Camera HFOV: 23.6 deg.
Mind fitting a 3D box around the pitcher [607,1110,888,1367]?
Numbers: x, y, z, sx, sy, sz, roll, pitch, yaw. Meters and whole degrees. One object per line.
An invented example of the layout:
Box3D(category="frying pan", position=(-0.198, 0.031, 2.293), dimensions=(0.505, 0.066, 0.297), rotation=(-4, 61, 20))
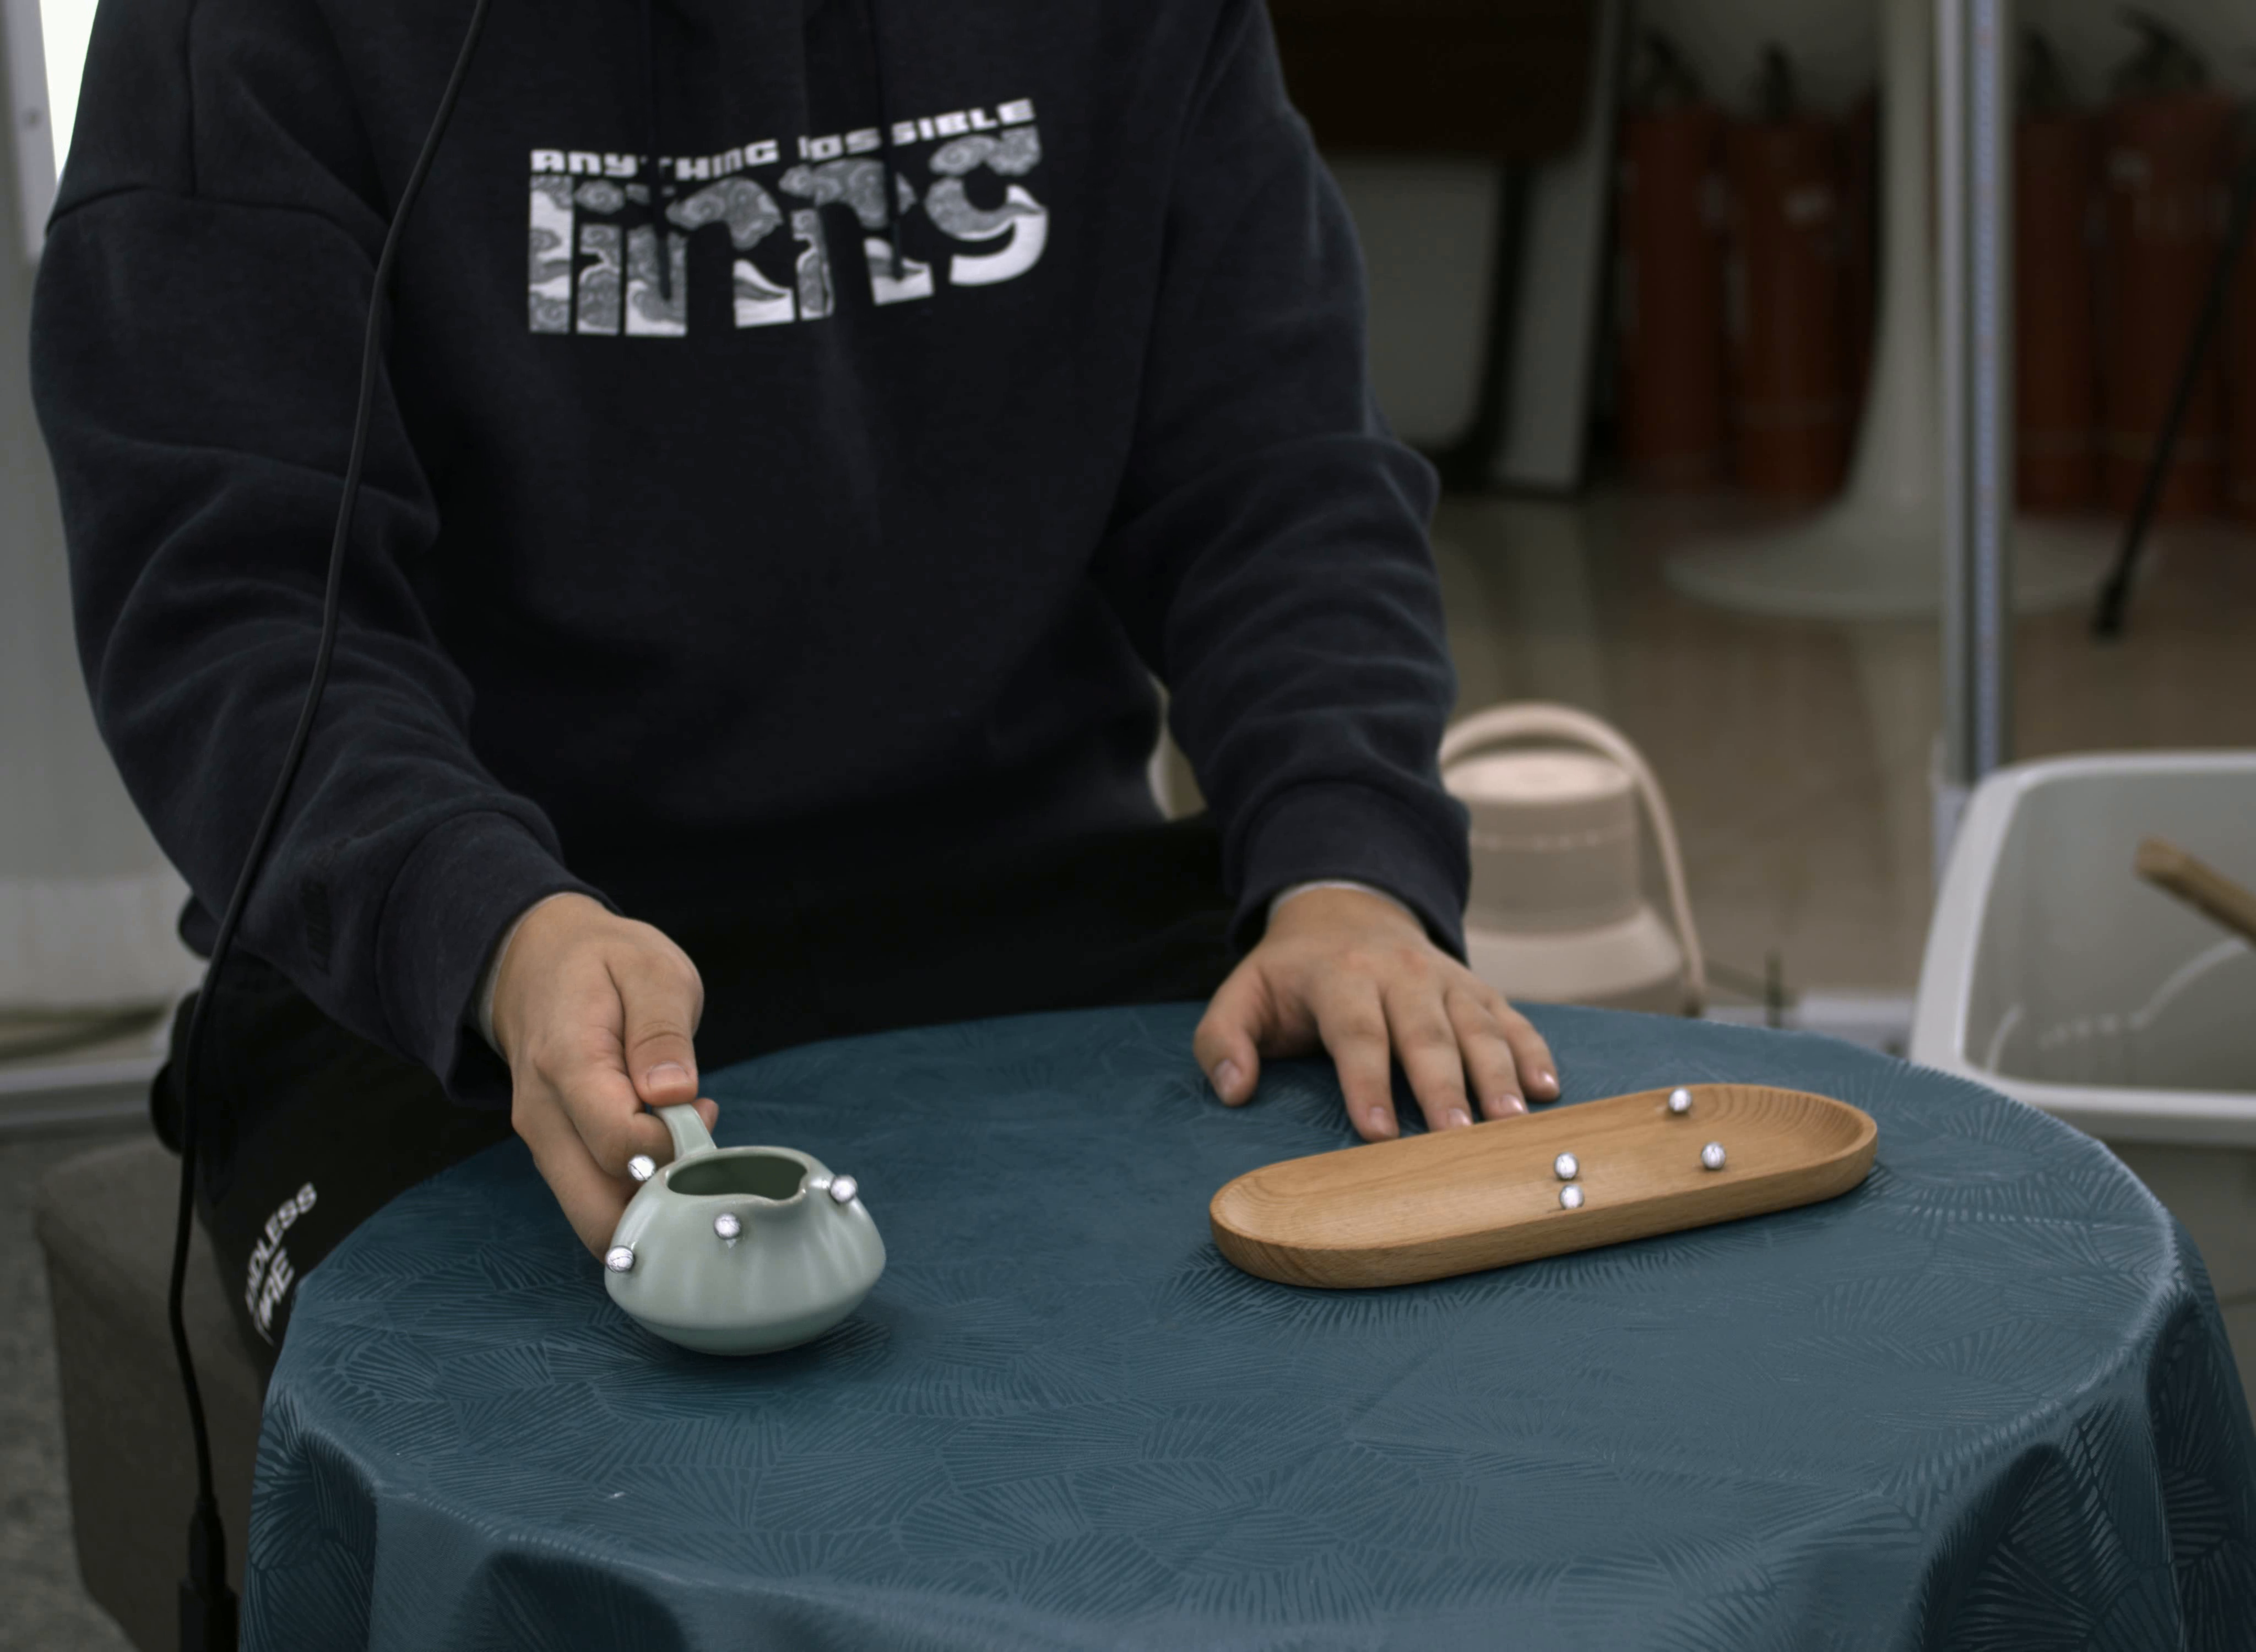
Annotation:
Box3D(category="pitcher", position=(-0.121, 0.126, 1.652), dimensions=(0.084, 0.061, 0.109), rotation=(-11, 17, -26))

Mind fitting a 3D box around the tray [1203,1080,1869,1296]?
Box3D(category="tray", position=(0.133, 0.116, 1.727), dimensions=(0.226, 0.020, 0.102), rotation=(-12, 14, -22))
